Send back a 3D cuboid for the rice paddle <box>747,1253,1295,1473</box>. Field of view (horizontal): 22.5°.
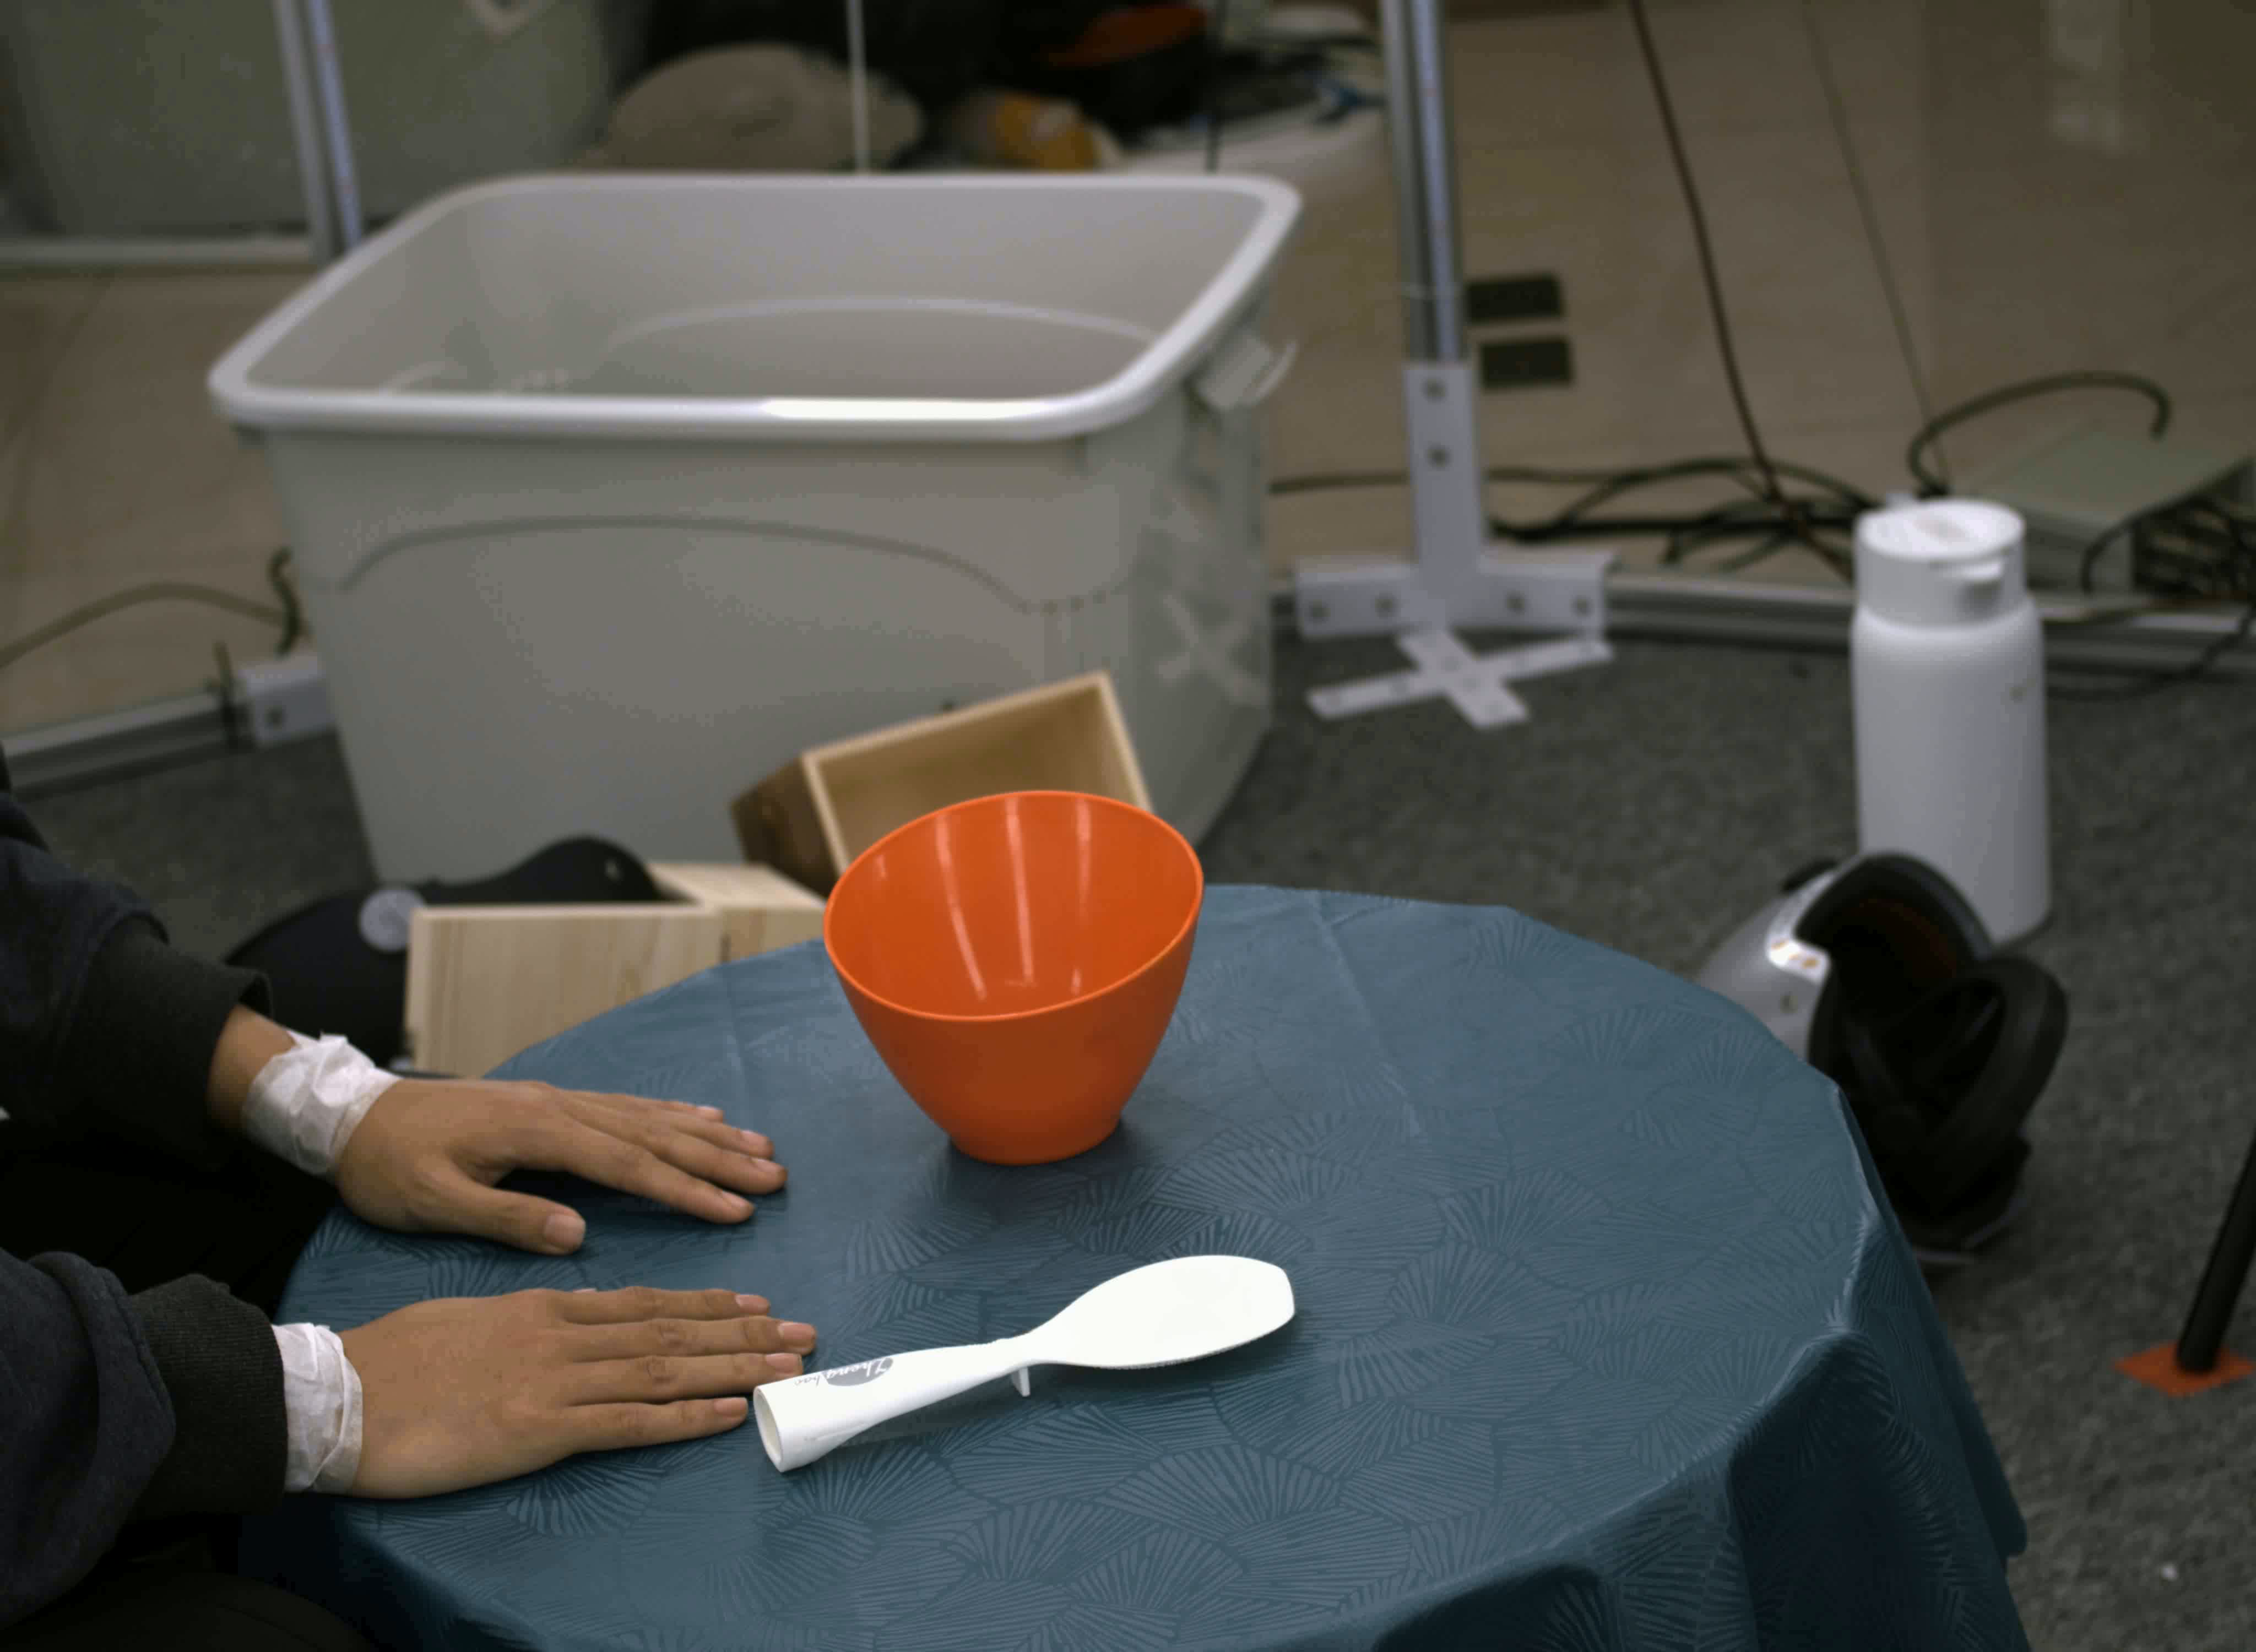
[{"bbox_3d":[-0.036,0.186,2.019,0.204,0.030,0.068,-15,28,-18],"label":"rice paddle"}]

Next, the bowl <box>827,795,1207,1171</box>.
[{"bbox_3d":[-0.039,0.067,2.191,0.148,0.106,0.146,-5,27,2],"label":"bowl"}]
